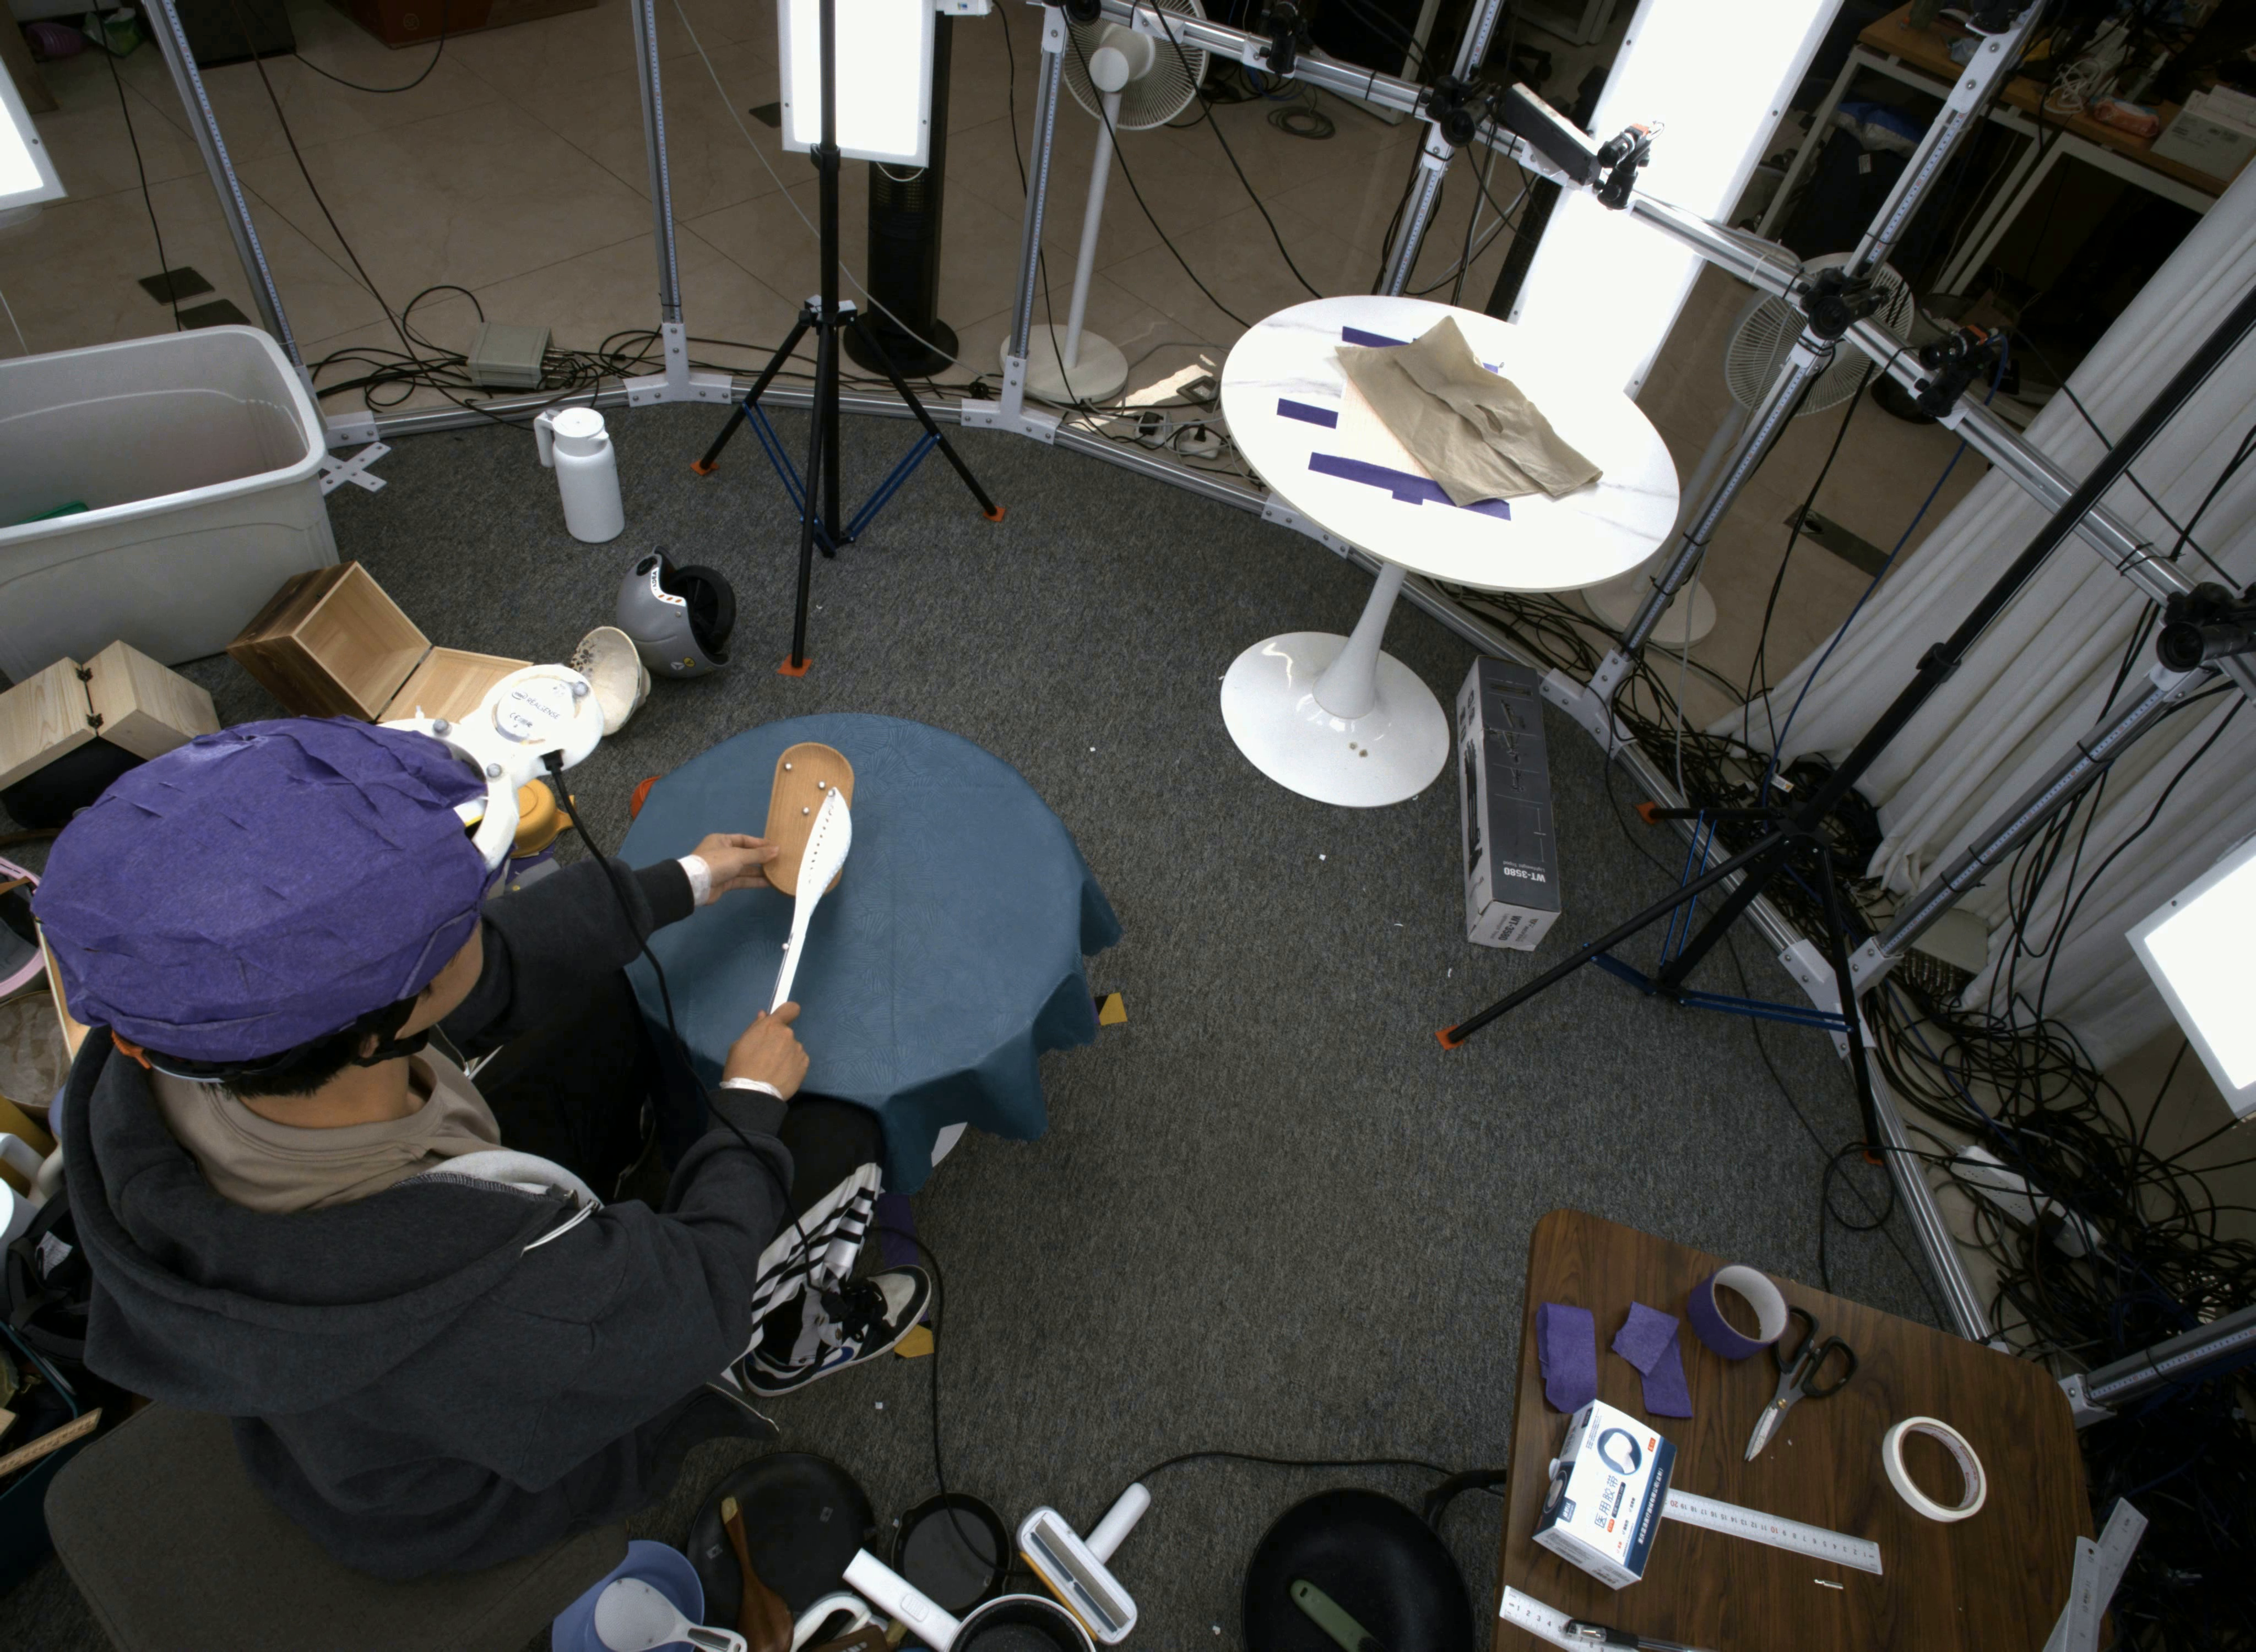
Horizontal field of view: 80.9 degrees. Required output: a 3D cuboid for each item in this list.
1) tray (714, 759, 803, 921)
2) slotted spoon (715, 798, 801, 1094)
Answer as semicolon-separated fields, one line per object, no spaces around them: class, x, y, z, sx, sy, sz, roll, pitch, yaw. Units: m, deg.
tray;-0.458;0.014;1.607;0.103;0.020;0.227;9;57;-23
slotted spoon;-0.428;0.130;1.479;0.046;0.135;0.346;20;60;-18
